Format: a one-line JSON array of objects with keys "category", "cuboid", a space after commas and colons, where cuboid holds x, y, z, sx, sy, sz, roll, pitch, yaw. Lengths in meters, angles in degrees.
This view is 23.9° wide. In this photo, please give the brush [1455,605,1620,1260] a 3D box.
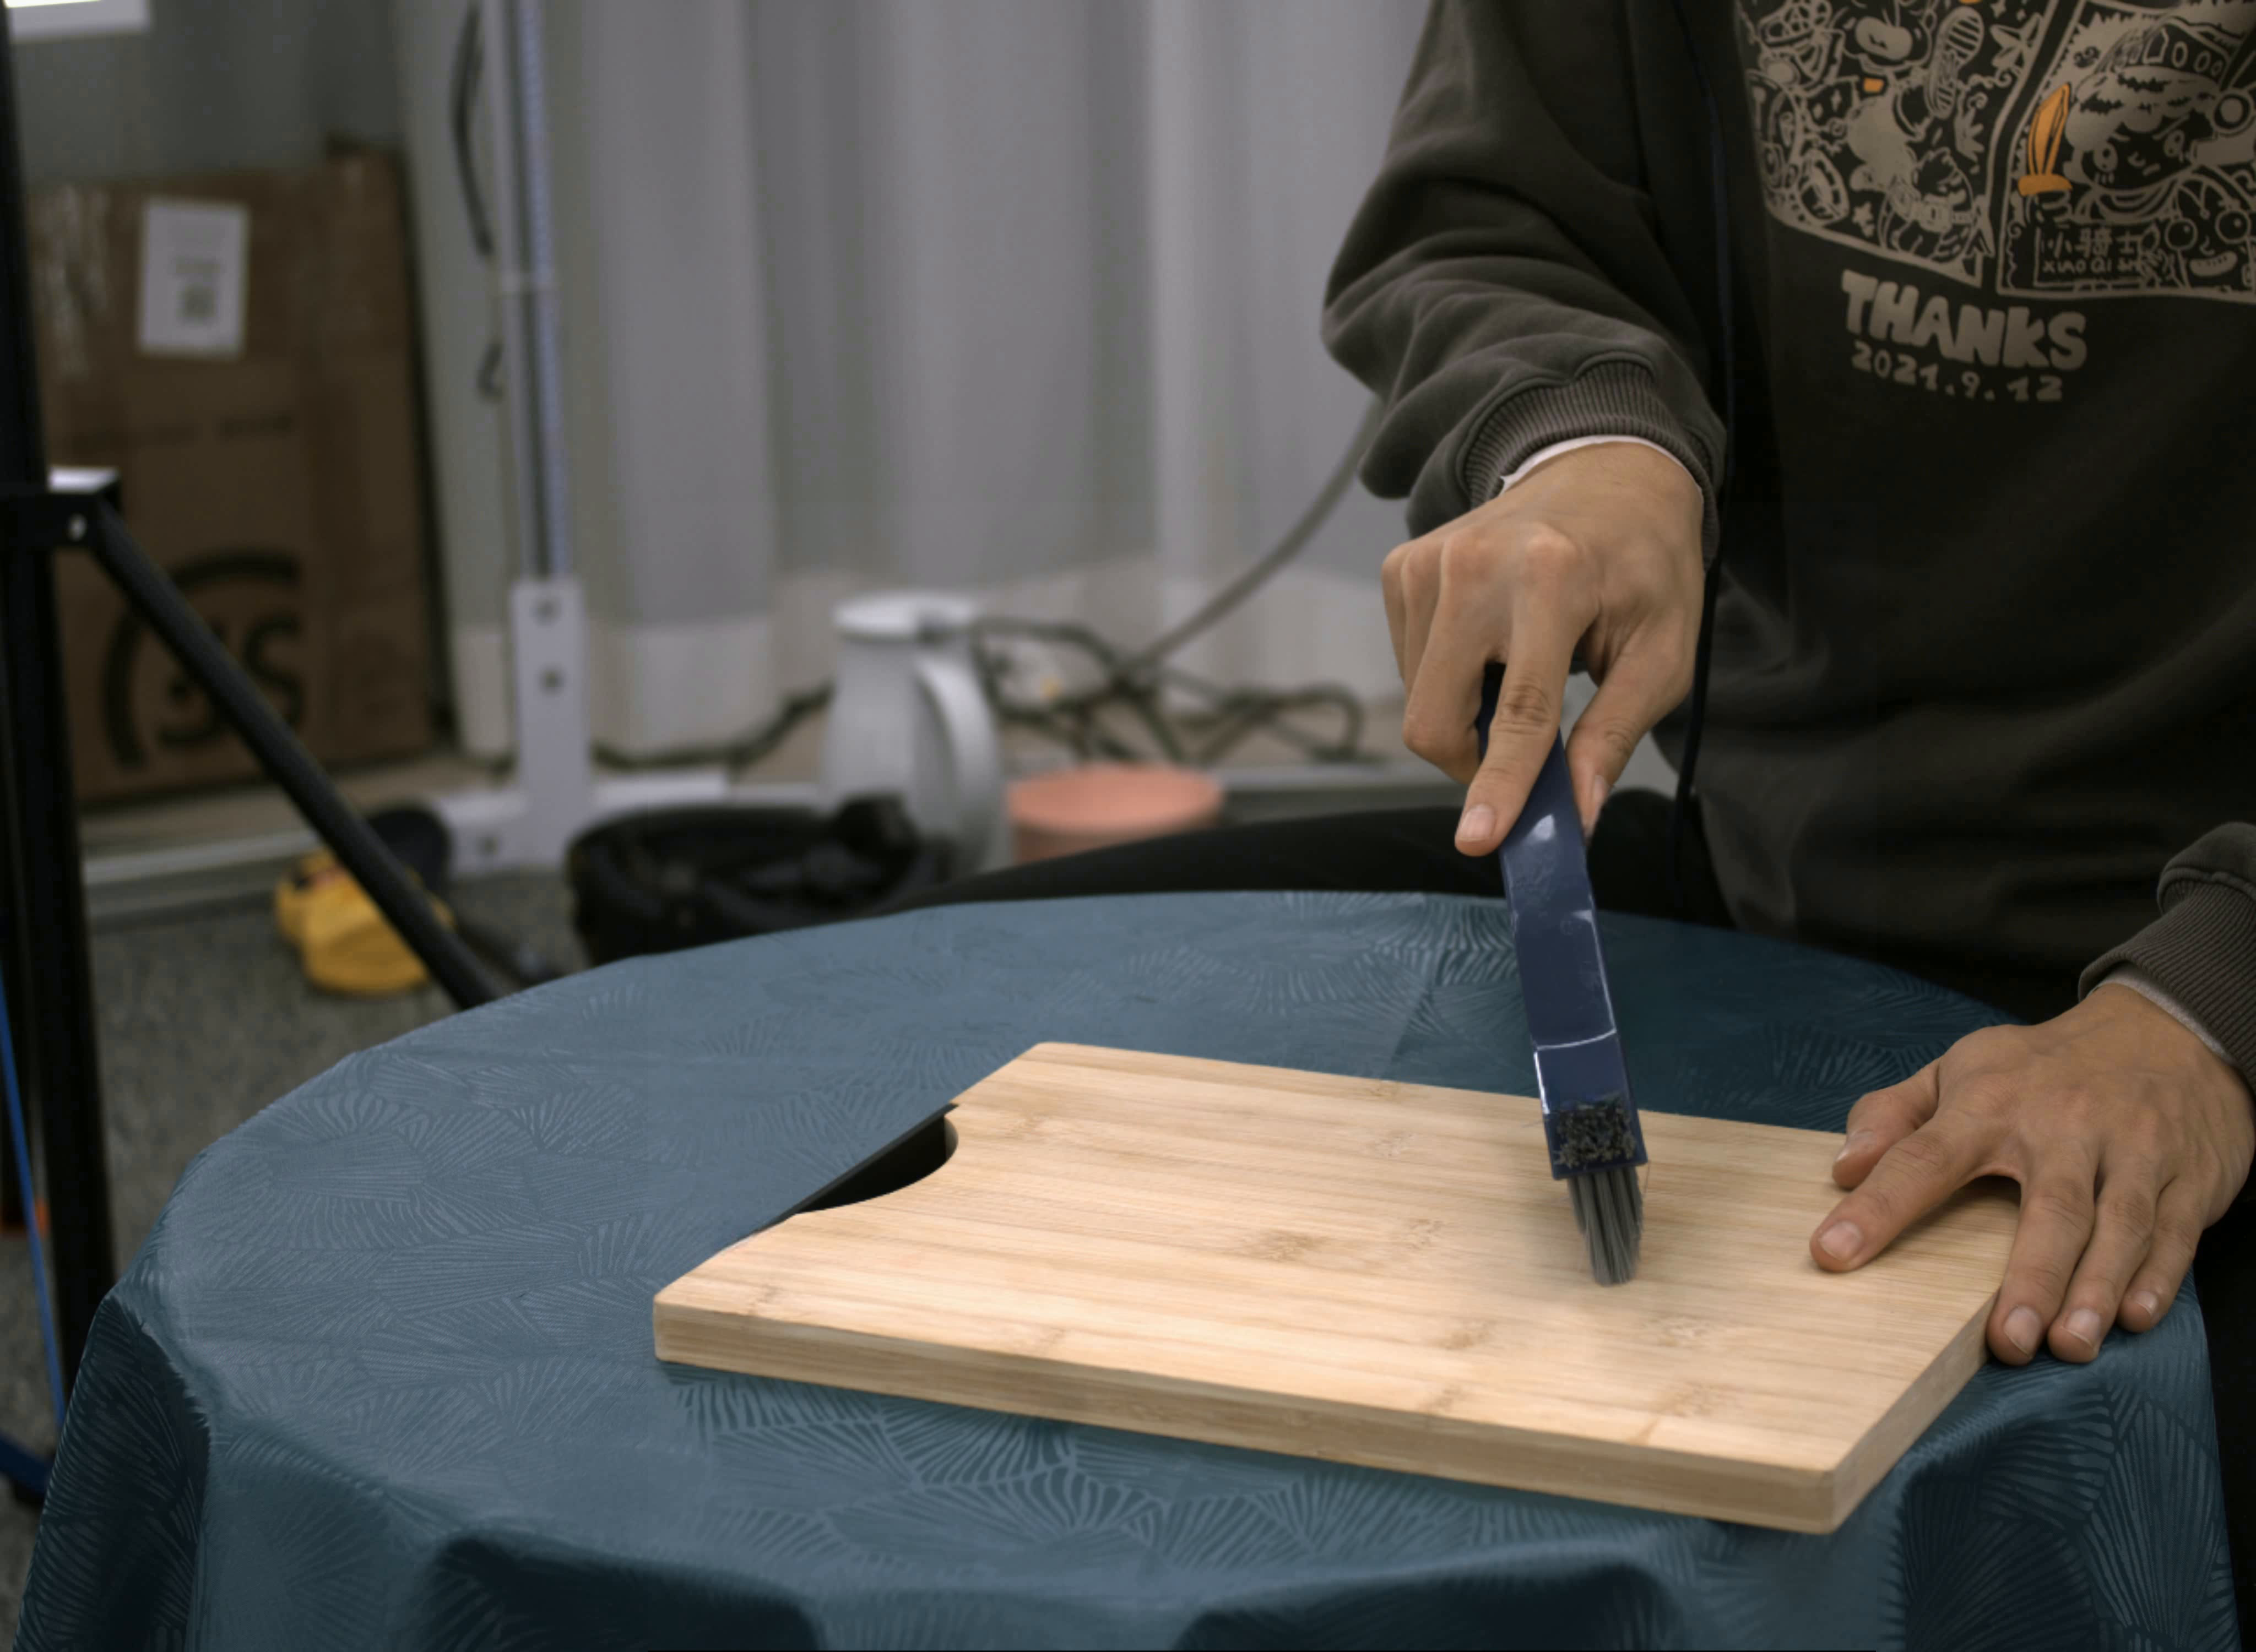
[{"category": "brush", "cuboid": [0.118, 0.012, 1.508, 0.033, 0.094, 0.276, -13, 43, 7]}]

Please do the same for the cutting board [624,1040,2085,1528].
[{"category": "cutting board", "cuboid": [0.067, 0.121, 1.475, 0.354, 0.023, 0.247, 5, 17, 26]}]
